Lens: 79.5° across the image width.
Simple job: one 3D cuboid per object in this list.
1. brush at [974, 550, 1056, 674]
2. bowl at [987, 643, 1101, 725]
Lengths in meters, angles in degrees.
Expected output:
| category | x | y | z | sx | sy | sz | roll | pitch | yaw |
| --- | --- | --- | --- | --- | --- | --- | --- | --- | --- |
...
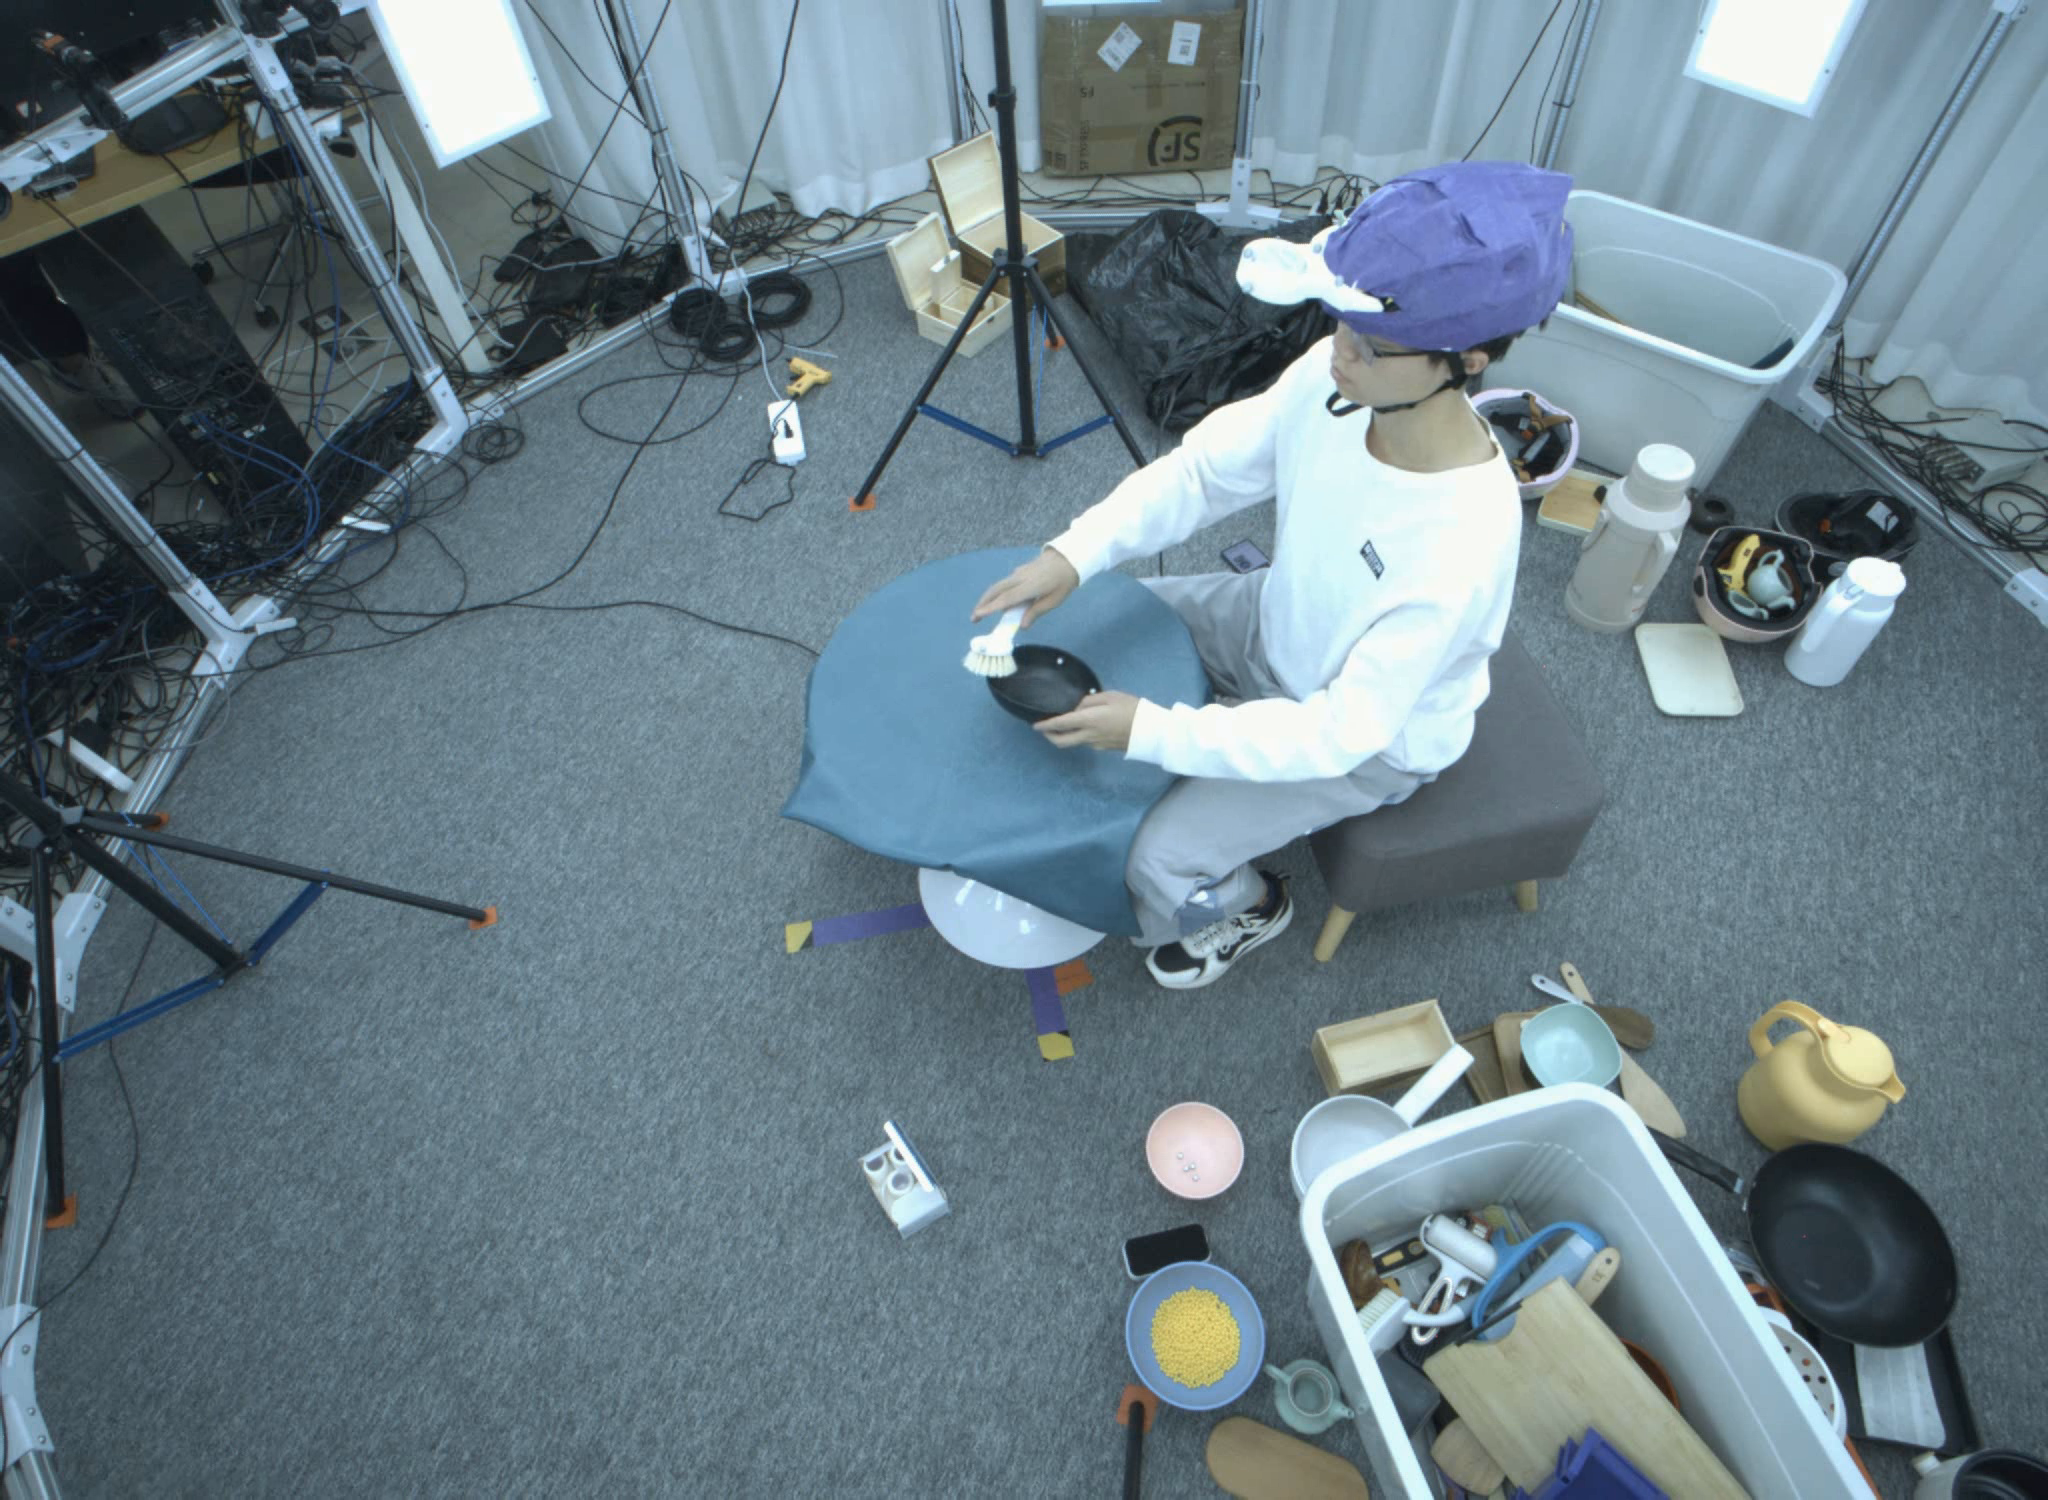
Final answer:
| category | x | y | z | sx | sy | sz | roll | pitch | yaw |
| --- | --- | --- | --- | --- | --- | --- | --- | --- | --- |
| brush | -0.003 | -0.197 | 1.773 | 0.068 | 0.057 | 0.266 | 12 | 44 | 13 |
| bowl | 0.026 | -0.083 | 1.742 | 0.170 | 0.067 | 0.137 | 18 | 42 | 2 |
